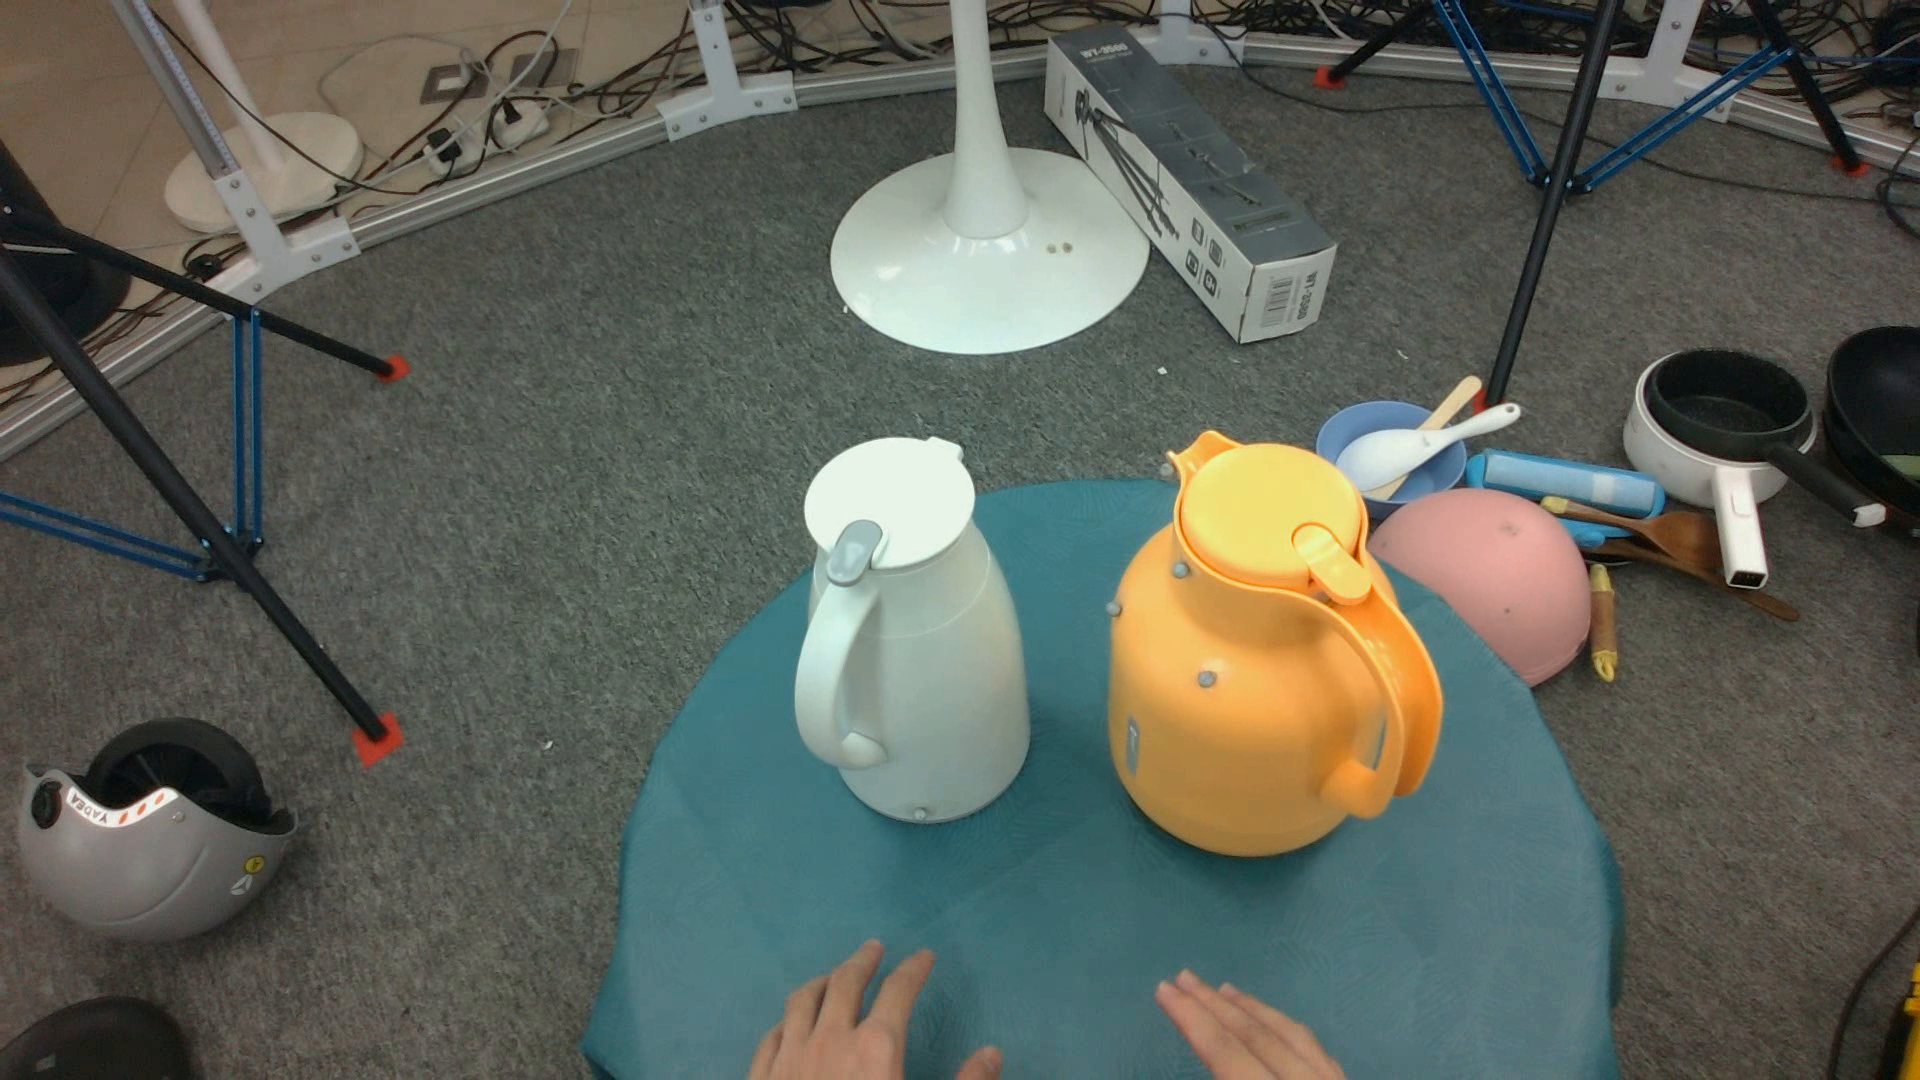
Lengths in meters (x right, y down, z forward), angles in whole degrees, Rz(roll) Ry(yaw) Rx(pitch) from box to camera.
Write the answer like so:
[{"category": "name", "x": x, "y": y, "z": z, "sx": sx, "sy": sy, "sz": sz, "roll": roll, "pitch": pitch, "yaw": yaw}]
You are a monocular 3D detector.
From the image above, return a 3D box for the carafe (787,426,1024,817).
[{"category": "carafe", "x": -0.041, "y": 0.061, "z": 0.806, "sx": 0.132, "sy": 0.247, "sz": 0.168, "roll": 19, "pitch": 55, "yaw": 20}]

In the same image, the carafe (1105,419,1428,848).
[{"category": "carafe", "x": 0.172, "y": 0.067, "z": 0.775, "sx": 0.164, "sy": 0.259, "sz": 0.203, "roll": -27, "pitch": 52, "yaw": -14}]
